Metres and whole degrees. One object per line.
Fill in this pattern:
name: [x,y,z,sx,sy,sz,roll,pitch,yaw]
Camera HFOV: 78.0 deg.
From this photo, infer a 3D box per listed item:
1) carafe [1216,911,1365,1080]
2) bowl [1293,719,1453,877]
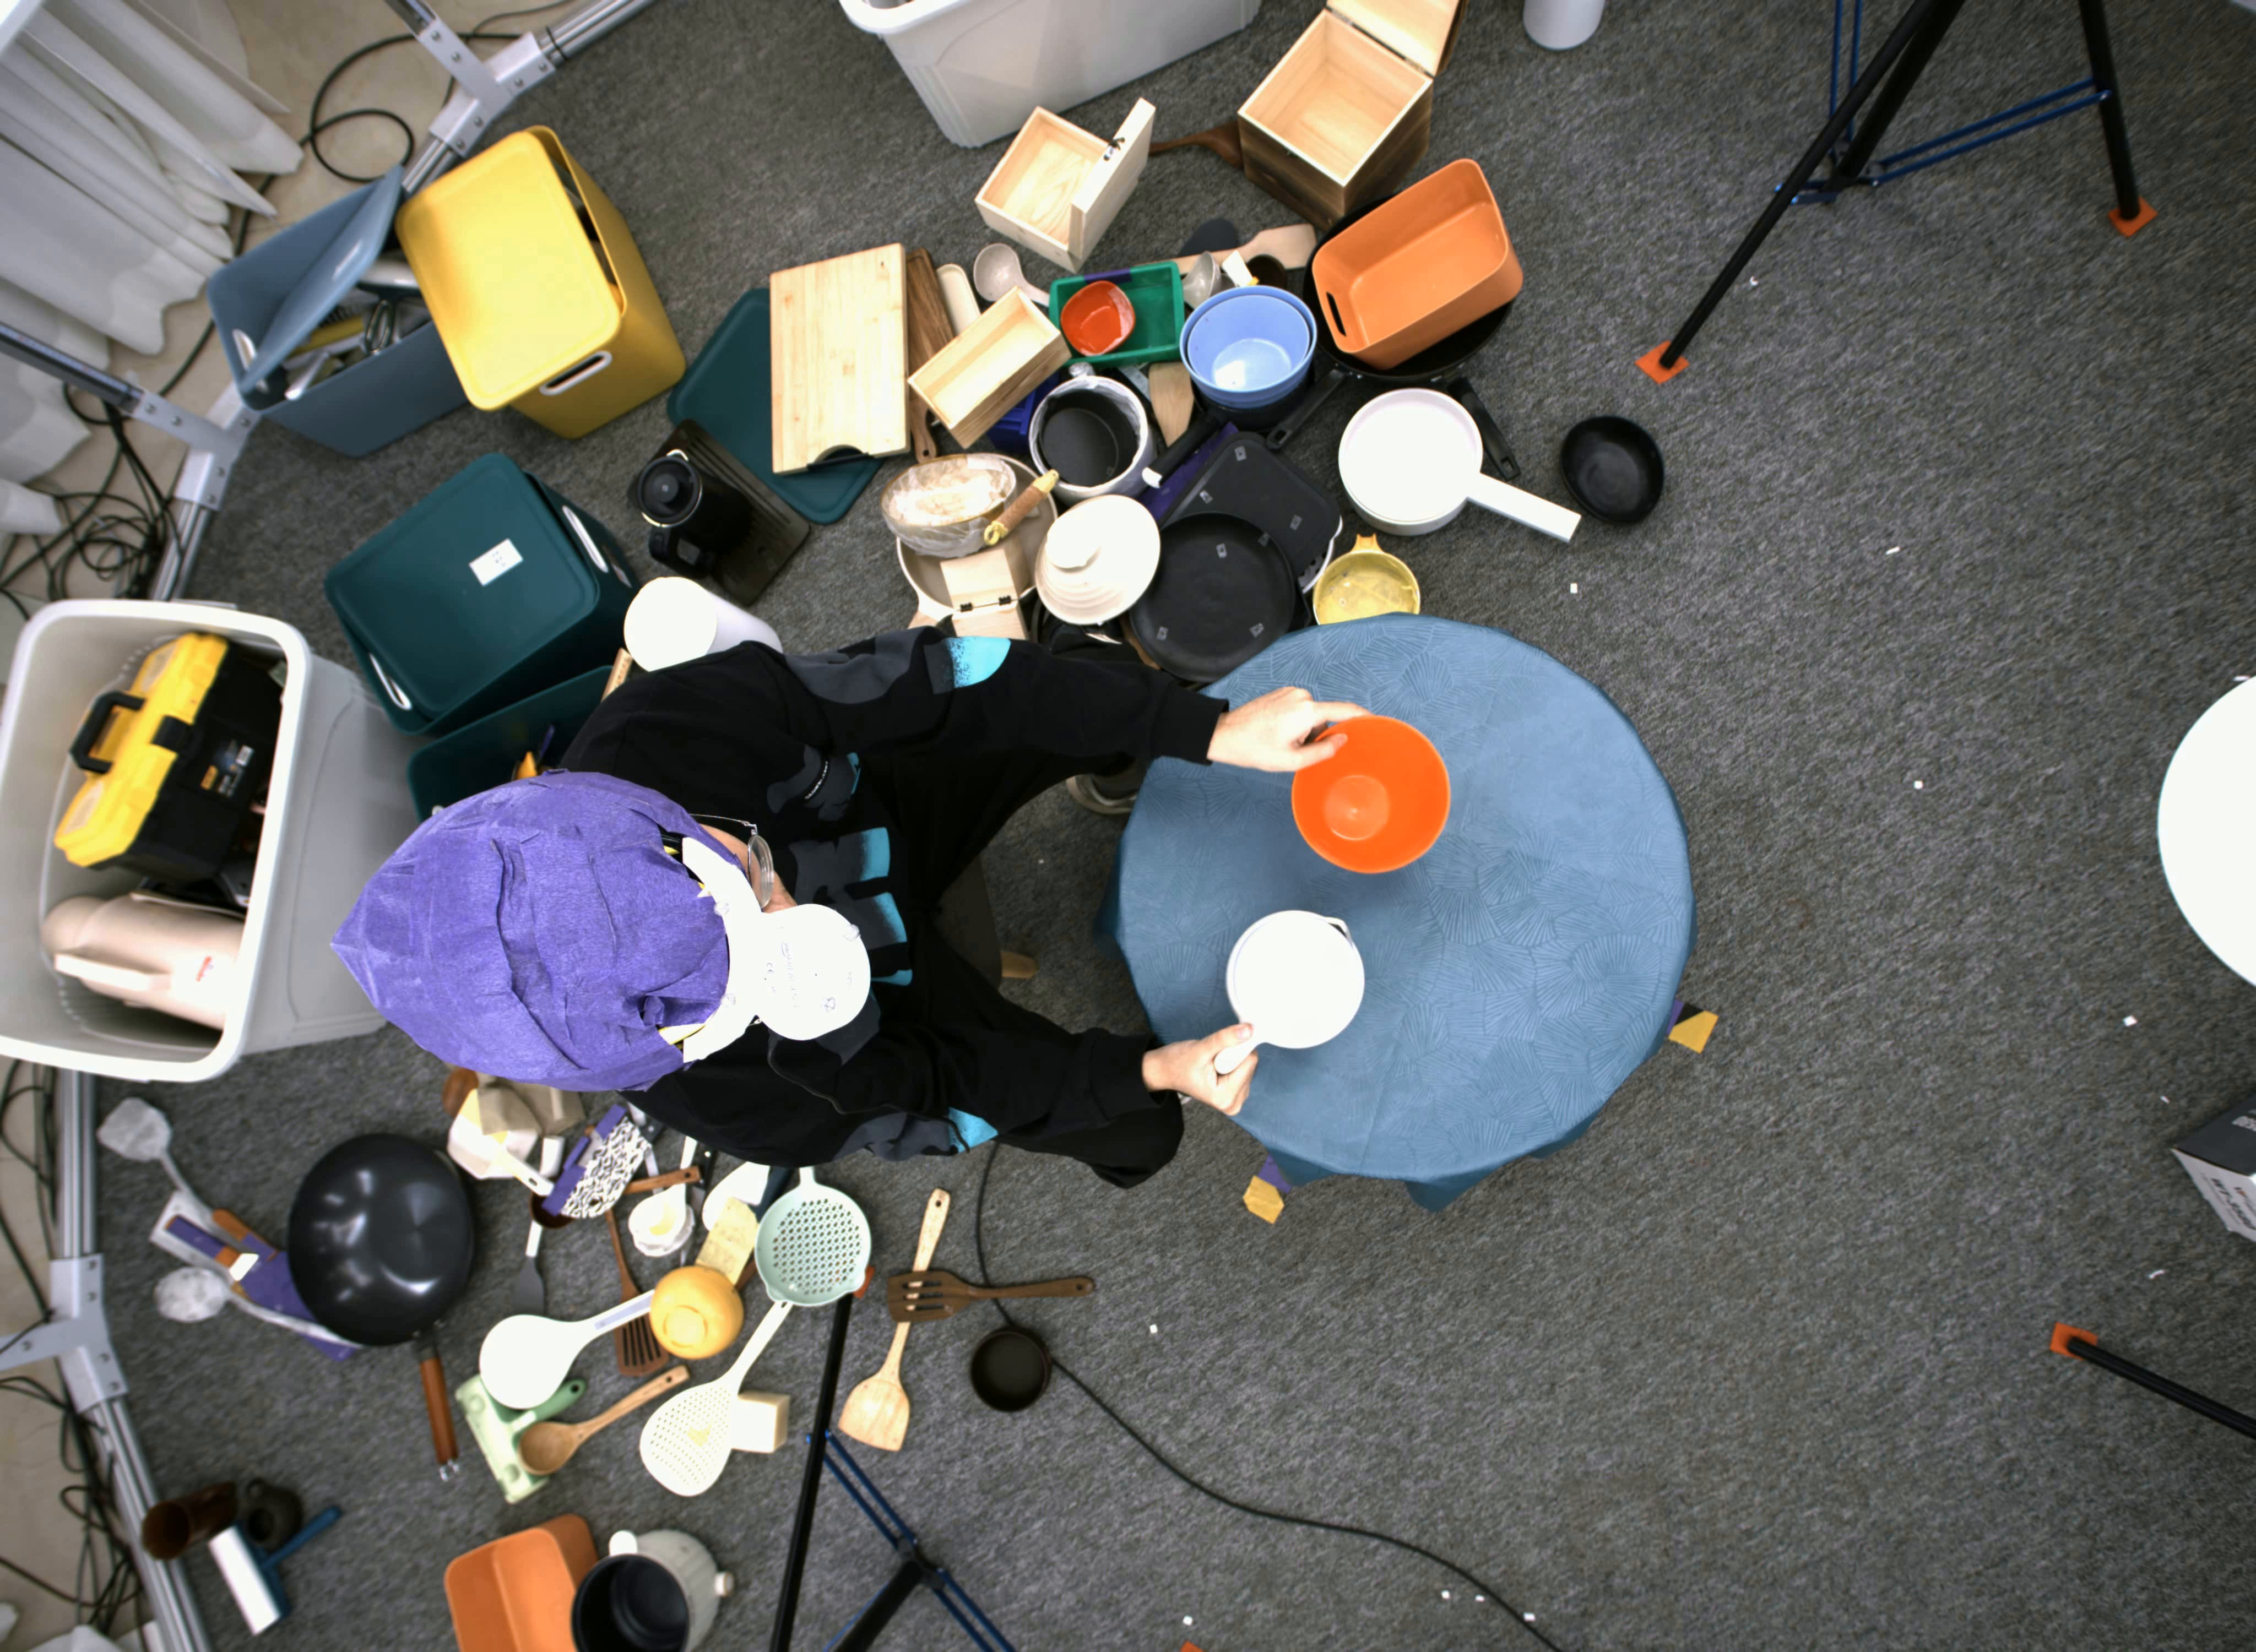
carafe: [0.147,0.169,1.358,0.132,0.183,0.191,38,91,8]
bowl: [0.232,-0.026,1.327,0.148,0.104,0.148,0,91,5]
